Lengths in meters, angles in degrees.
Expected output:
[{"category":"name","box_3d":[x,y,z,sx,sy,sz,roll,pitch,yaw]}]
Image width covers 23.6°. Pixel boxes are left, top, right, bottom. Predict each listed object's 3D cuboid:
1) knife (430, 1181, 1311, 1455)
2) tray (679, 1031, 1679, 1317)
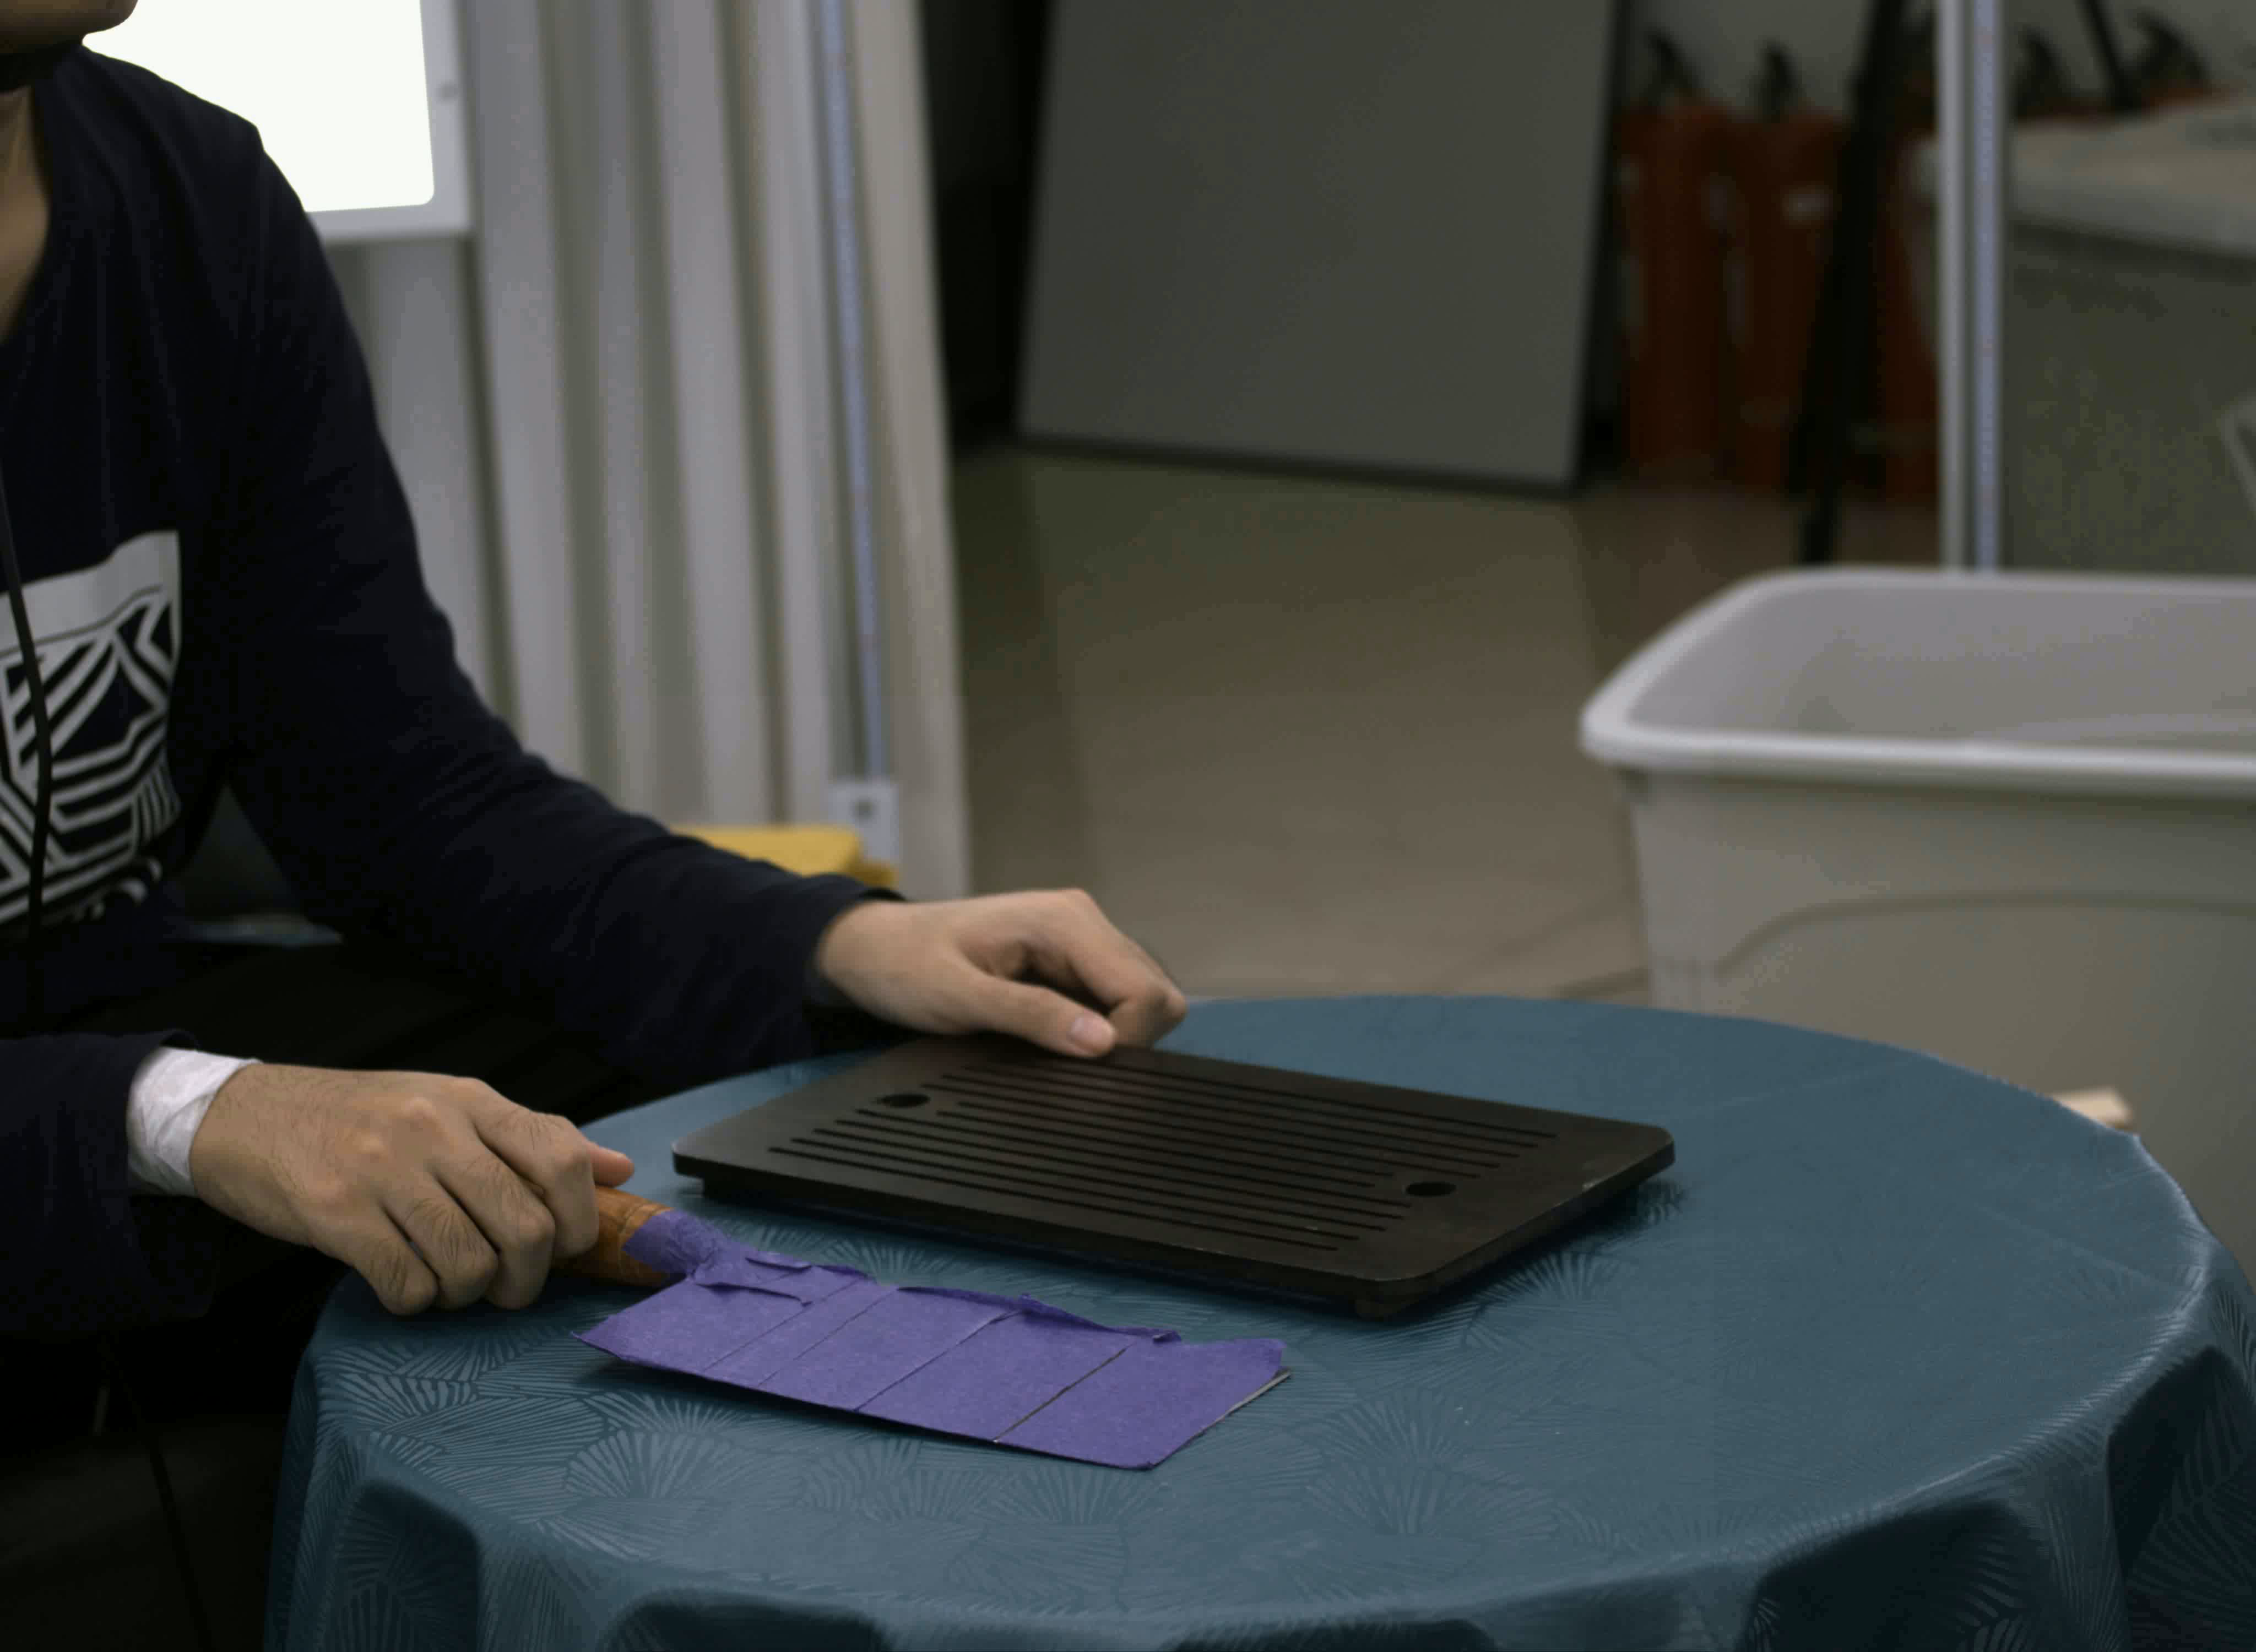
[{"category":"knife","box_3d":[-0.101,0.148,1.638,0.317,0.032,0.102,5,16,33]},{"category":"tray","box_3d":[0.015,0.112,1.774,0.308,0.019,0.167,6,17,38]}]
